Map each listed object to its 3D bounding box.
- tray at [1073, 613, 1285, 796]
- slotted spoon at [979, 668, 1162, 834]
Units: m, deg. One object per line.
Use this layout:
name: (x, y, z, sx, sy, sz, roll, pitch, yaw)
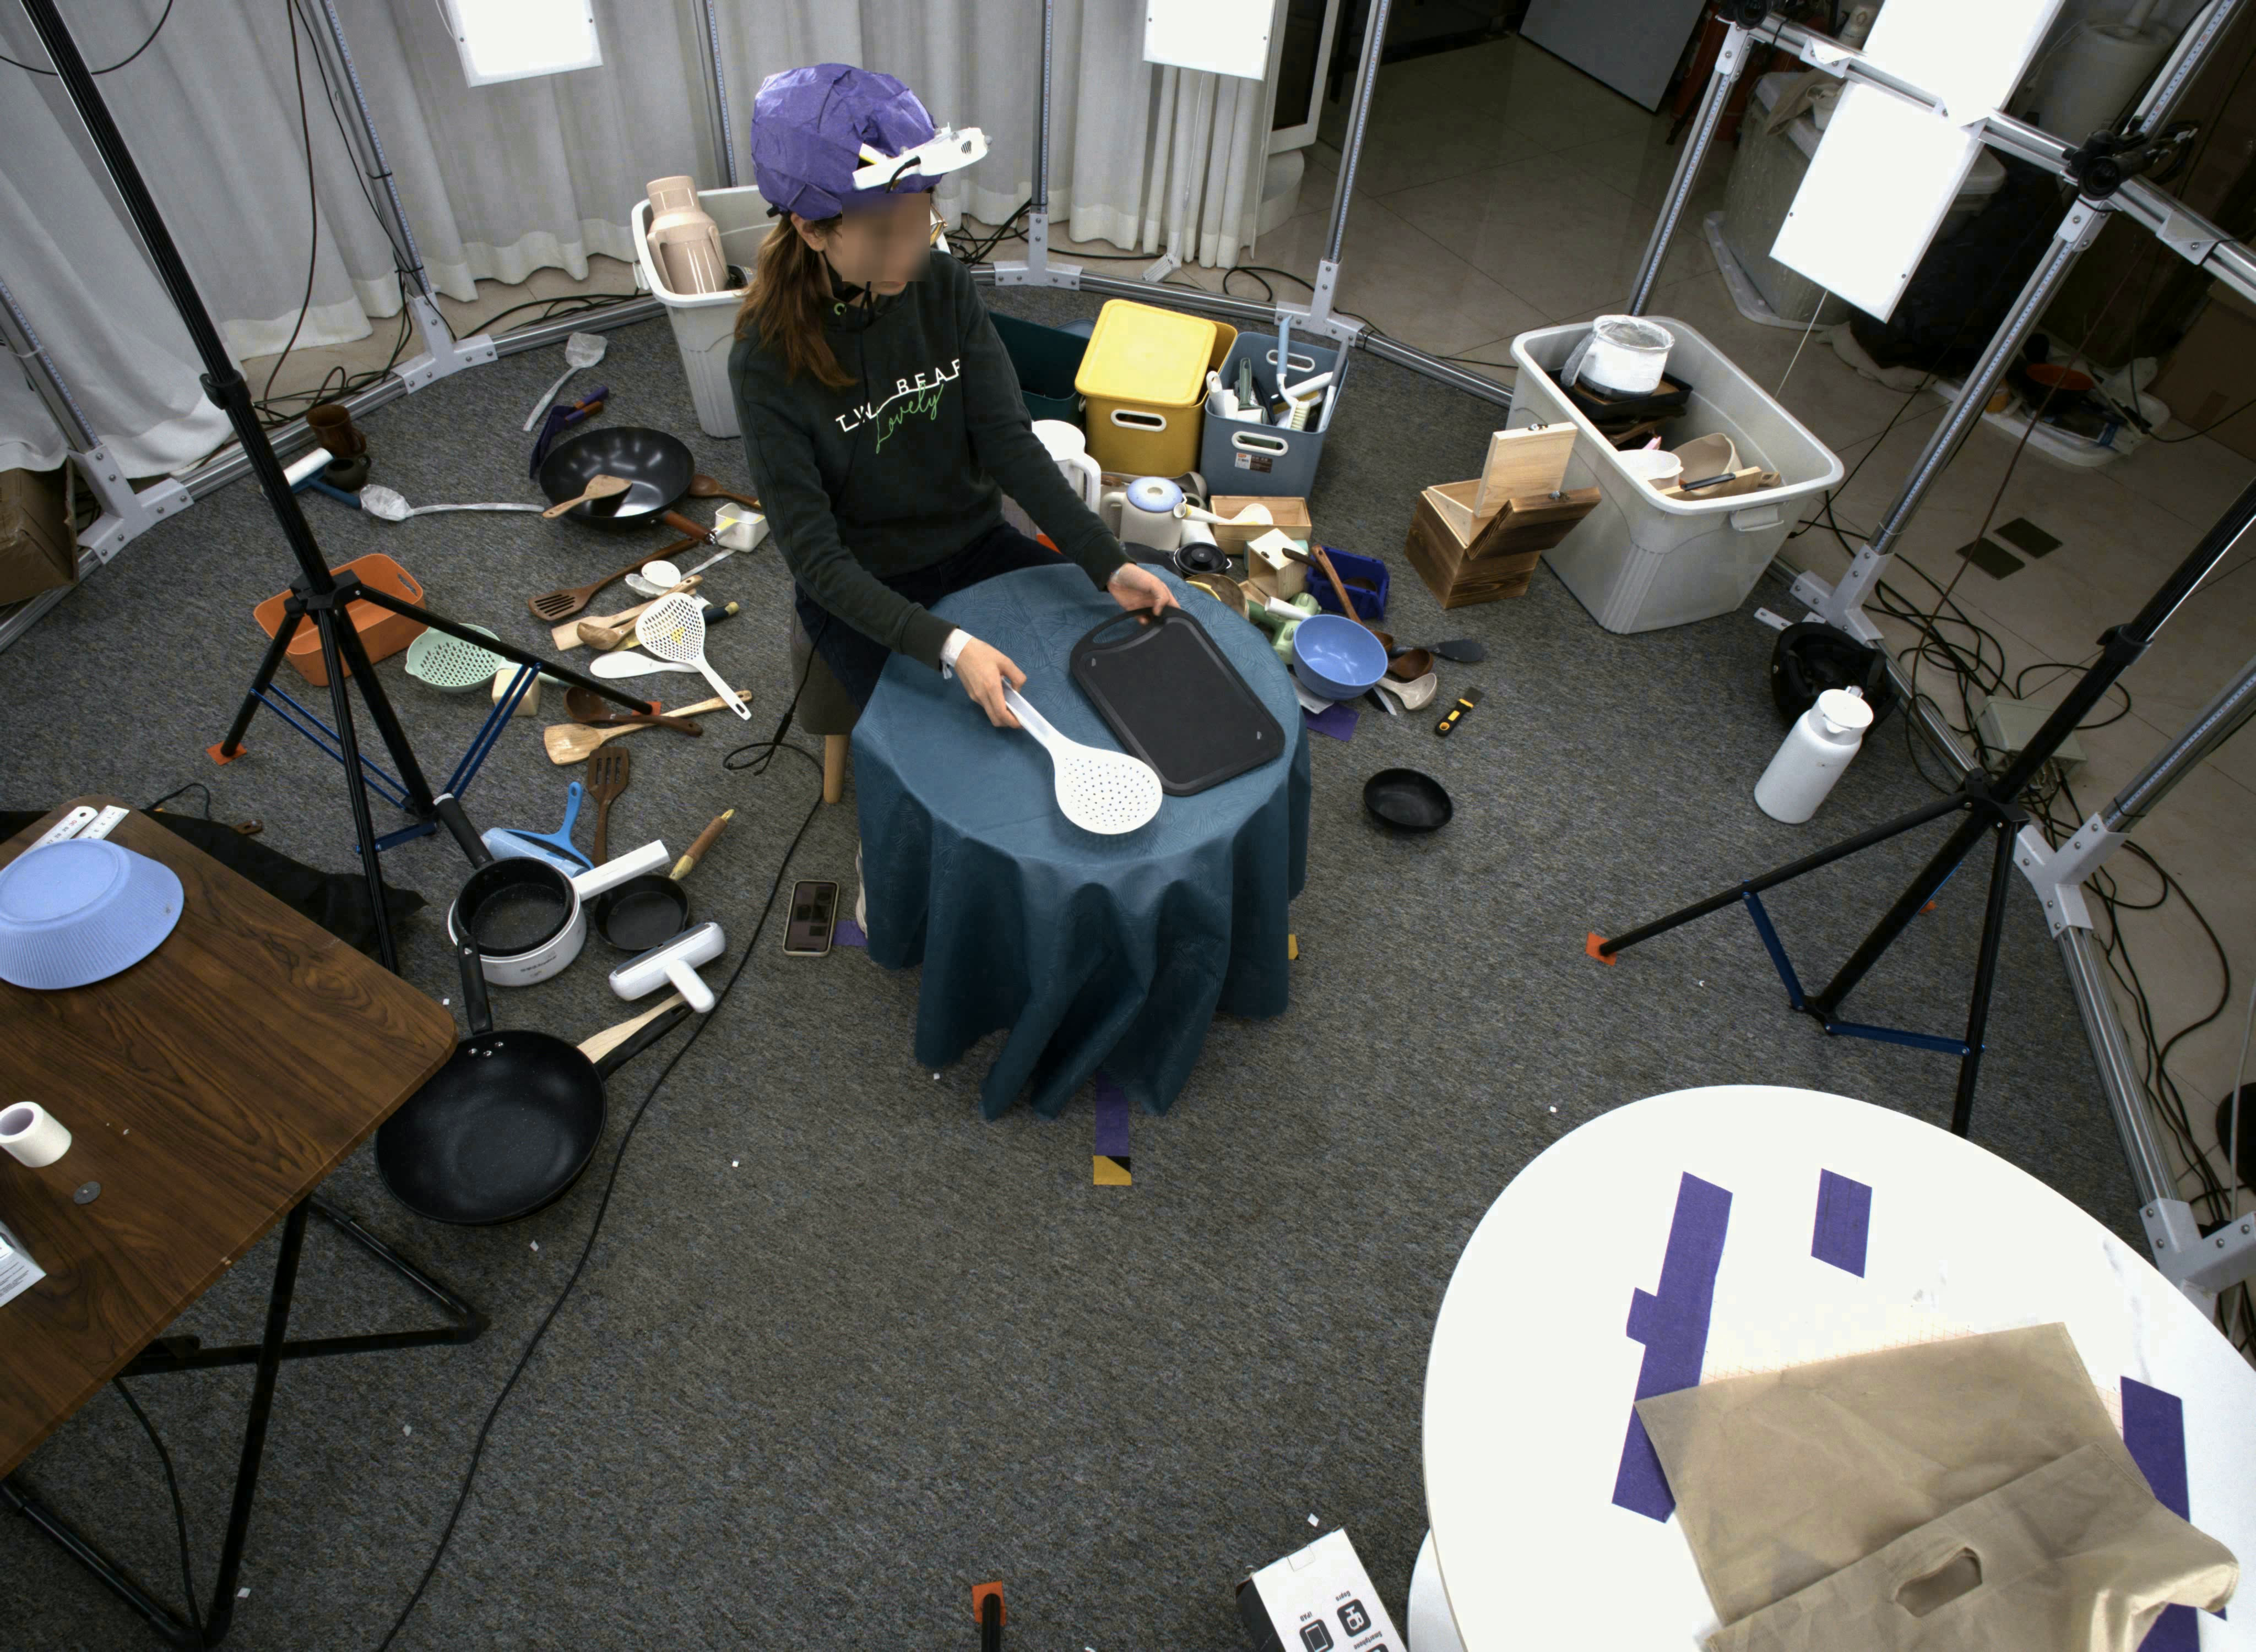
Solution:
tray: (0.065, -0.185, 1.826, 0.212, 0.009, 0.332, -23, 58, -19)
slotted spoon: (-0.092, -0.106, 1.727, 0.137, 0.044, 0.355, -29, 61, -26)
